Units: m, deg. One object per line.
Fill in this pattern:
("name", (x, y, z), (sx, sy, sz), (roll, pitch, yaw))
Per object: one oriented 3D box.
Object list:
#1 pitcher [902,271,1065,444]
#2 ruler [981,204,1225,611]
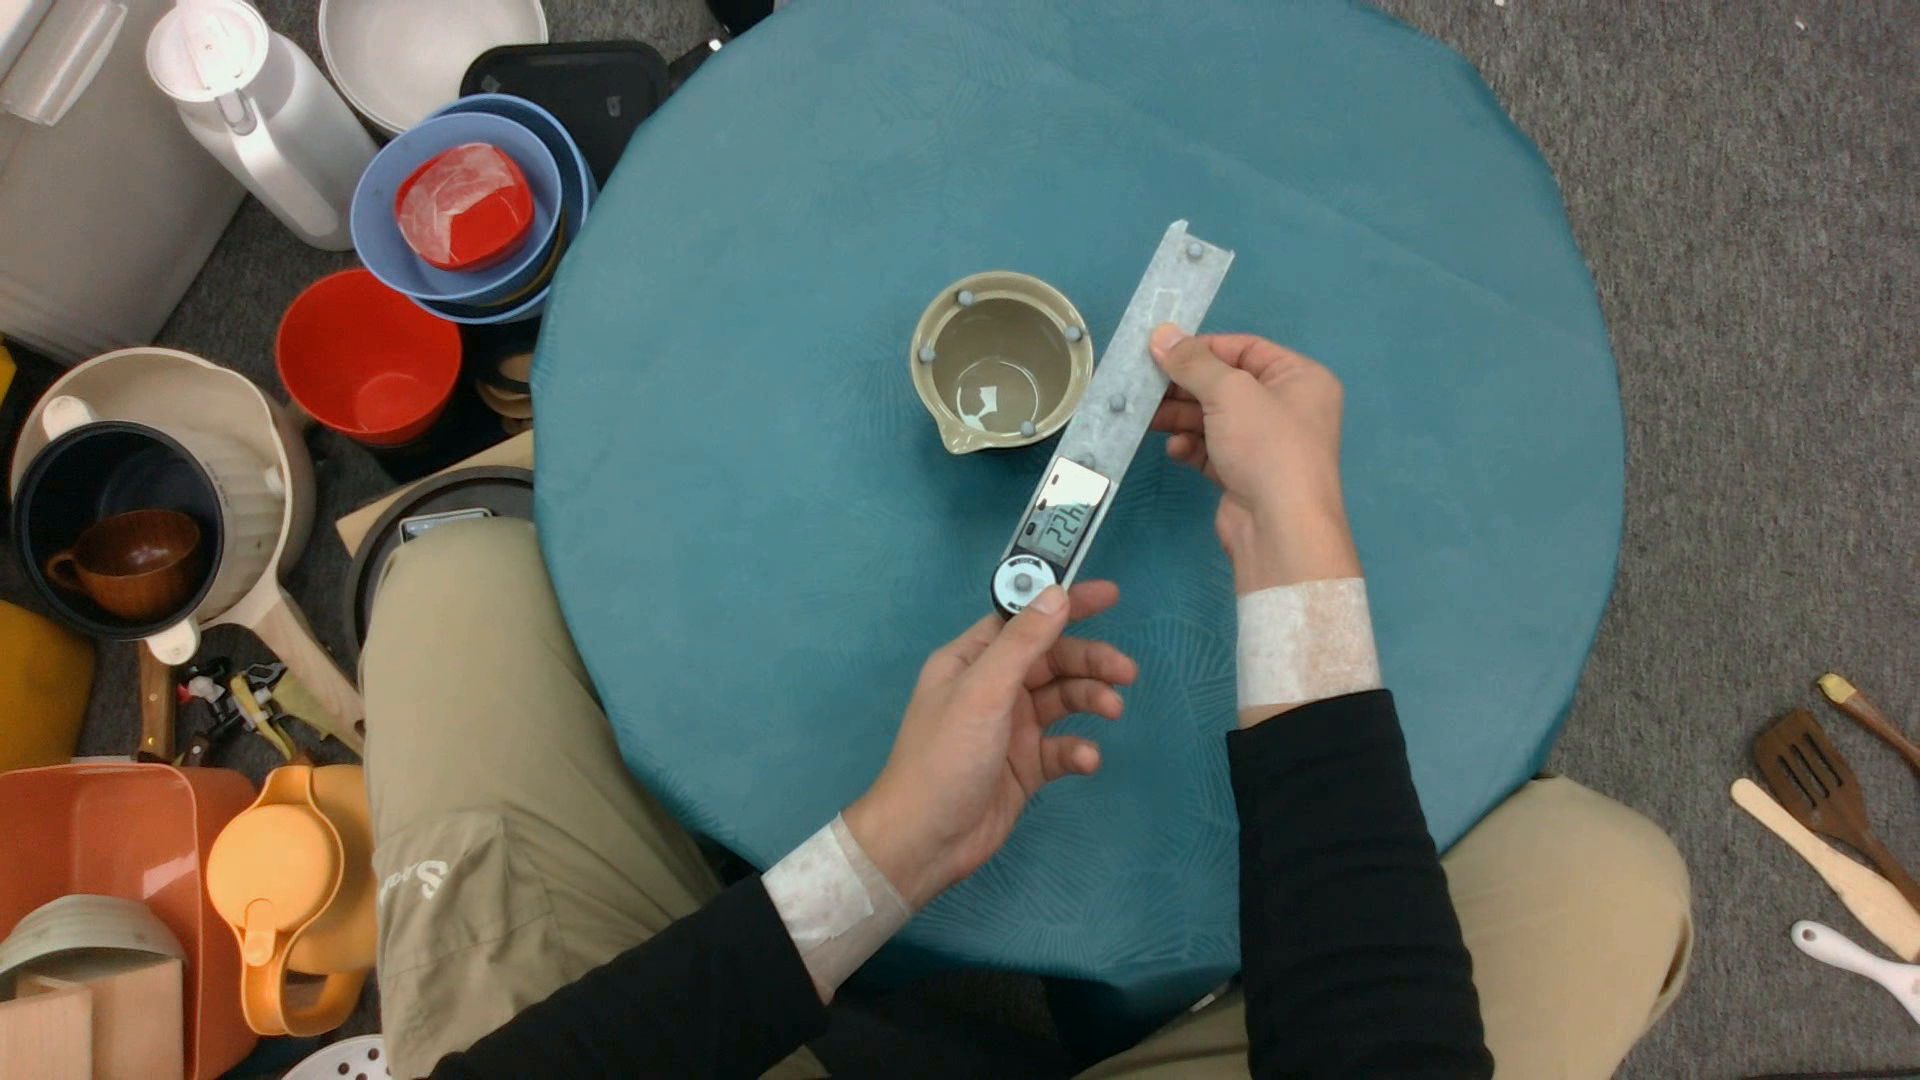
("pitcher", (0.008, -0.085, 0.721), (0.083, 0.071, 0.096), (27, 77, 3))
("ruler", (0.069, -0.066, 0.664), (0.038, 0.024, 0.218), (27, 82, 1))
